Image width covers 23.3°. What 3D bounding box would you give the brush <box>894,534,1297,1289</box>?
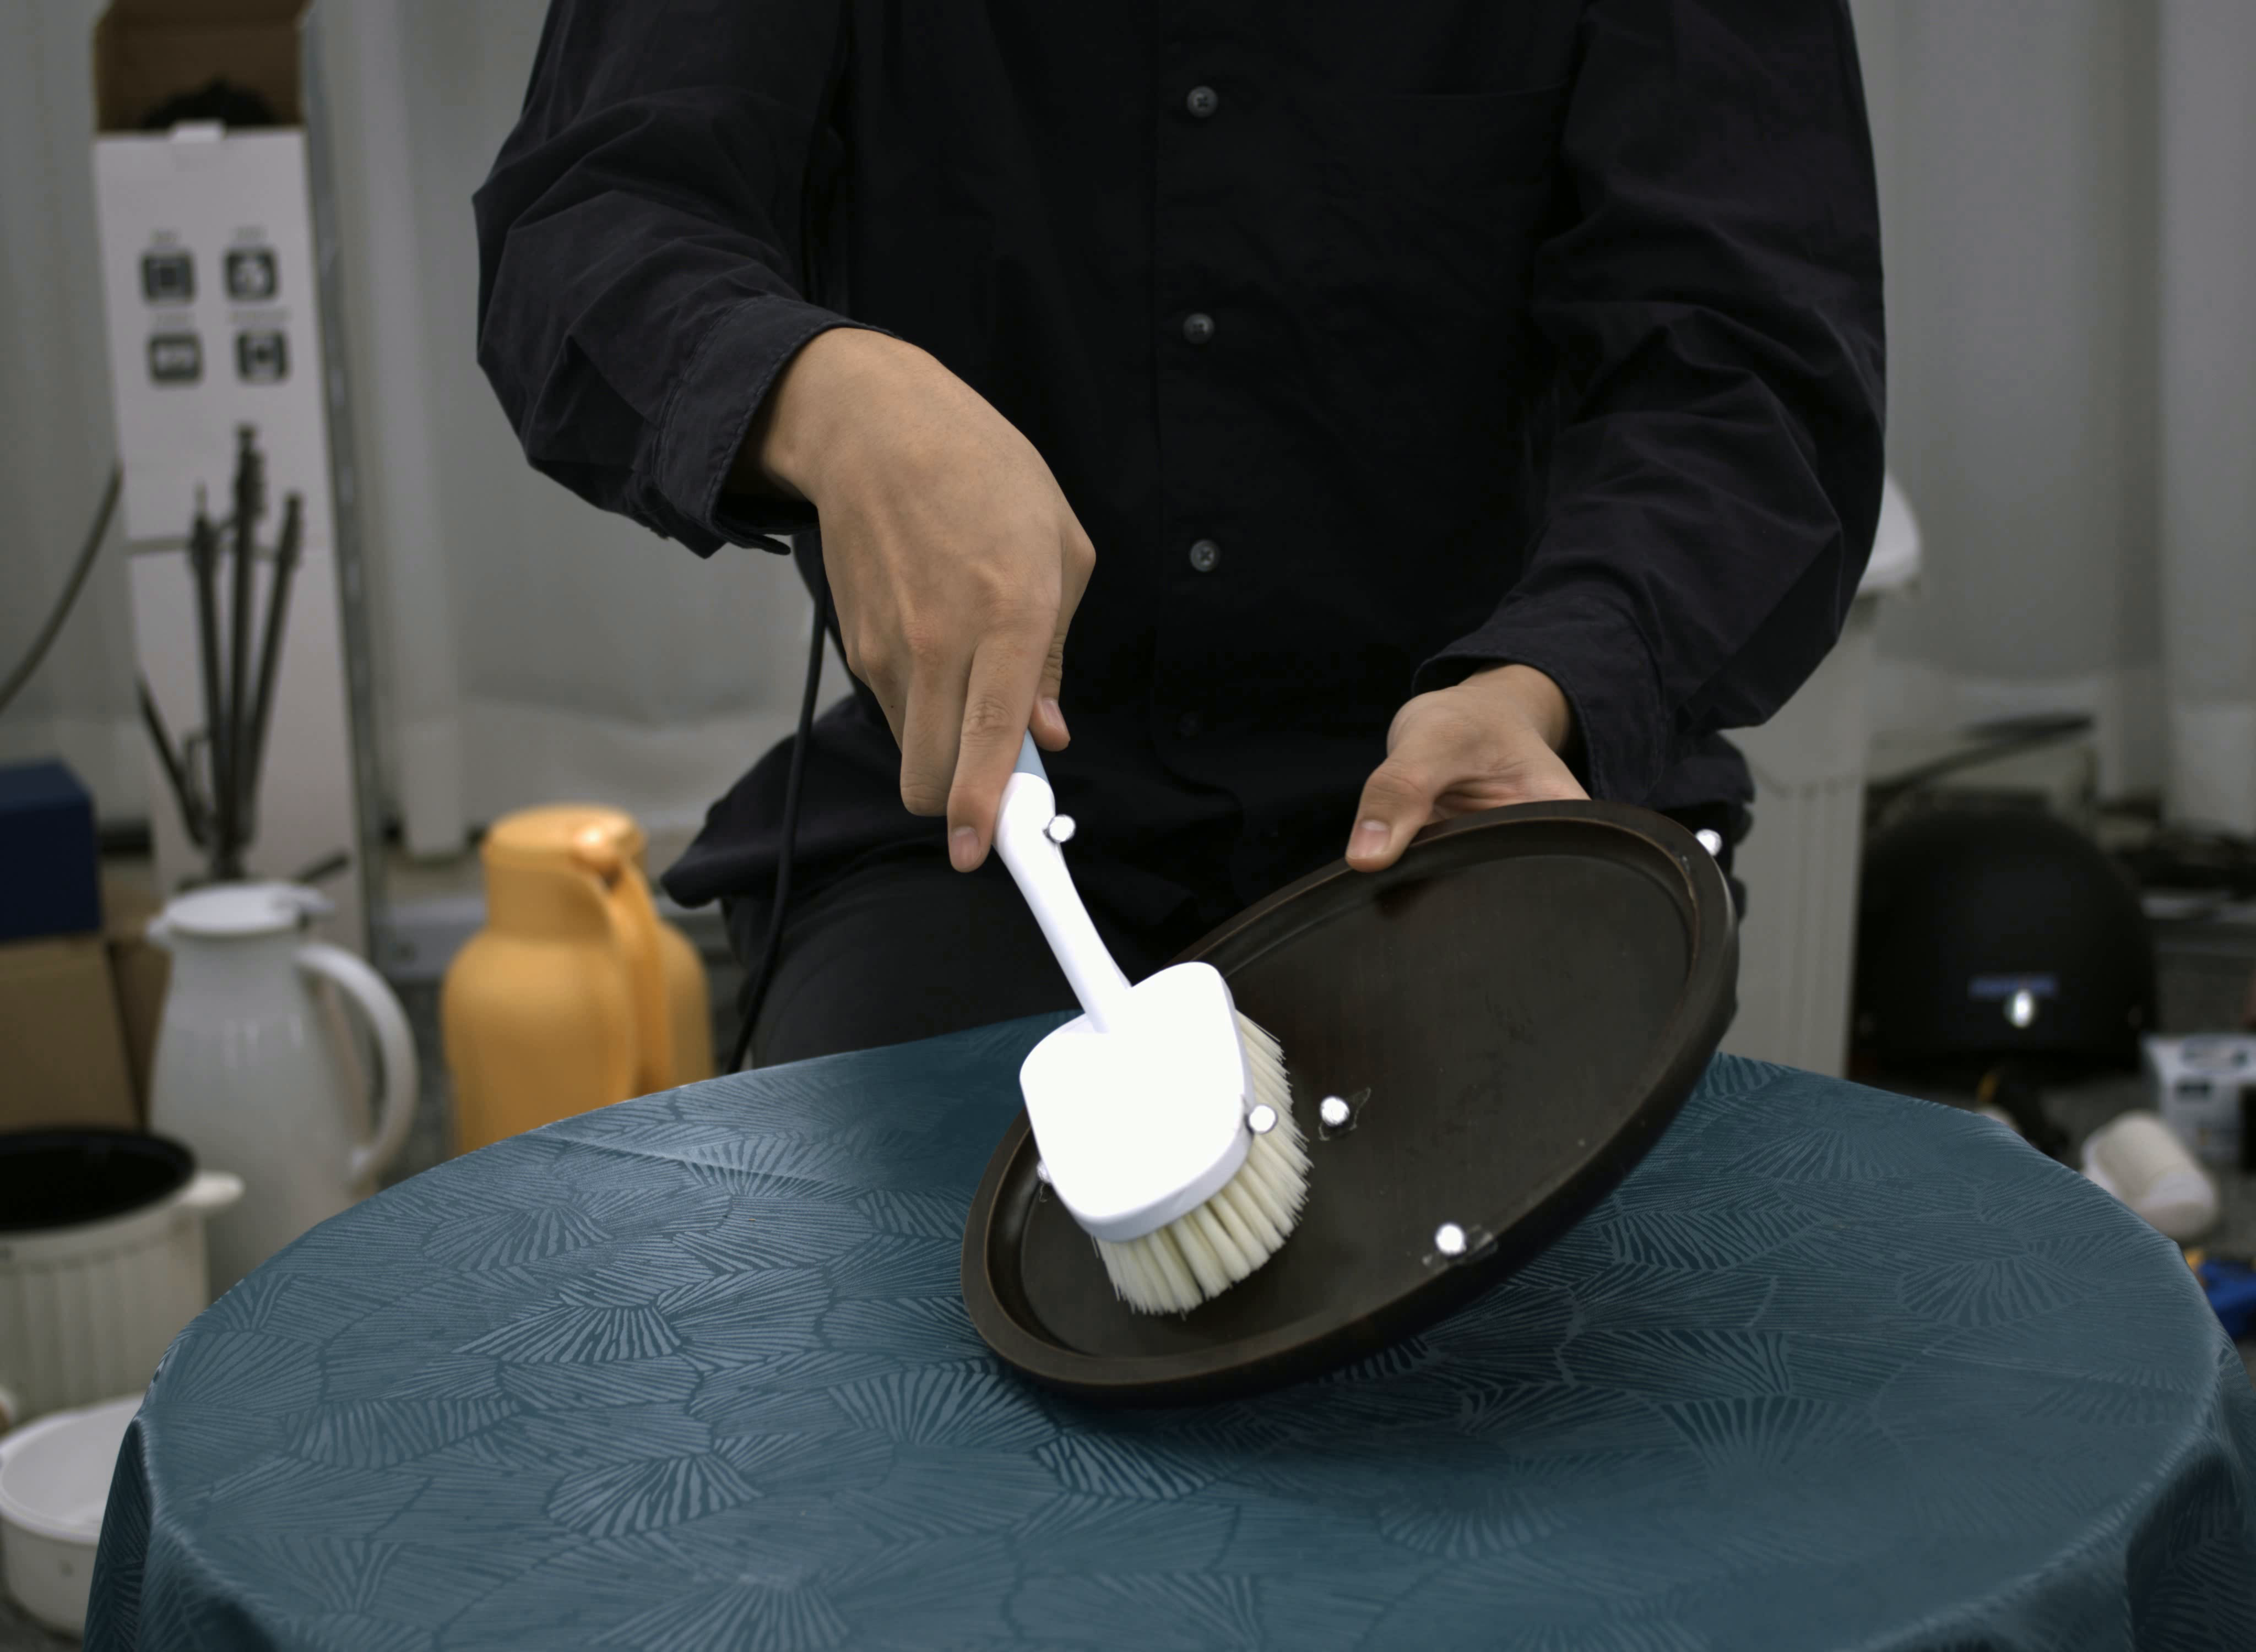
[{"bbox_3d":[-0.008,0.027,1.657,0.082,0.084,0.330,1,36,-17],"label":"brush"}]

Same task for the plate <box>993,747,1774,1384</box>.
[{"bbox_3d":[0.075,0.071,1.585,0.254,0.029,0.258,-28,25,14],"label":"plate"}]
